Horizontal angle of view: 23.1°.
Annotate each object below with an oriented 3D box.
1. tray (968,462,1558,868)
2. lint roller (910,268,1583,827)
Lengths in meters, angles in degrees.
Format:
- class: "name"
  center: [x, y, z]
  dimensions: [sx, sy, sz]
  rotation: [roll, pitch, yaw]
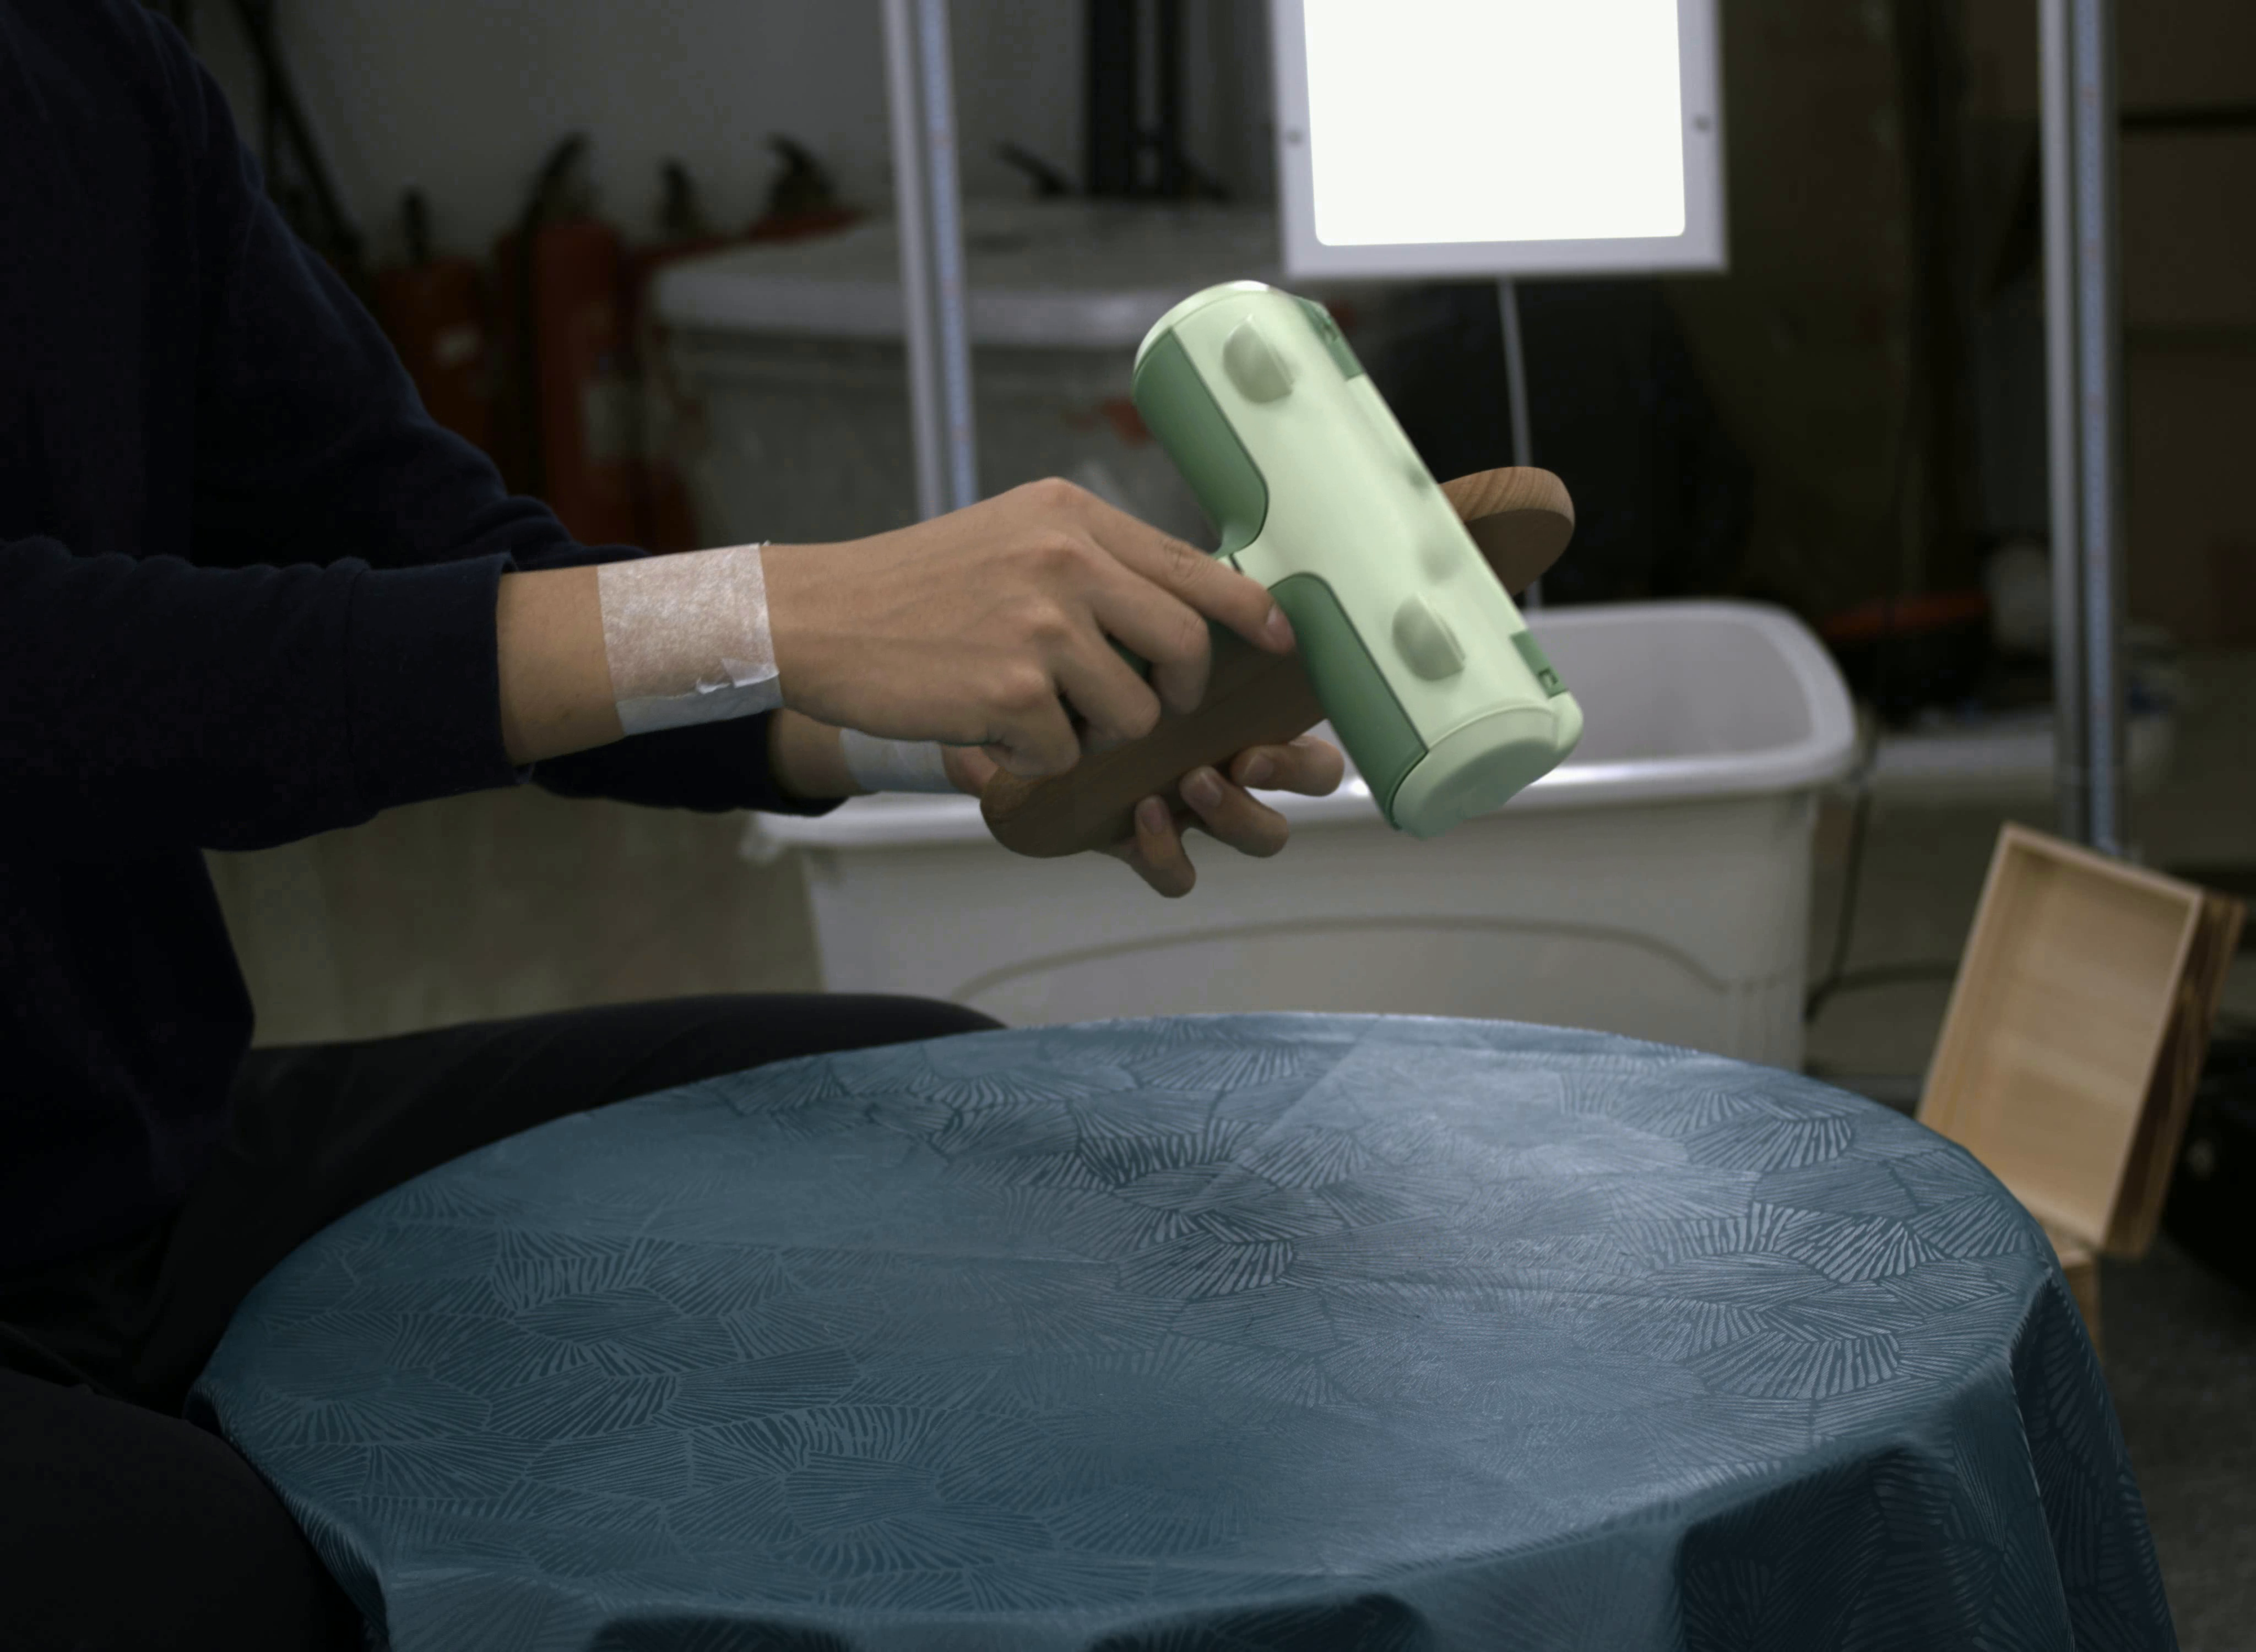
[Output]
- class: "tray"
  center: [0.045, -0.051, 1.820]
  dimensions: [0.235, 0.020, 0.099]
  rotation: [-35, -24, 23]
- class: "lint roller"
  center: [0.020, -0.081, 1.693]
  dimensions: [0.179, 0.083, 0.200]
  rotation: [-16, 58, -24]
